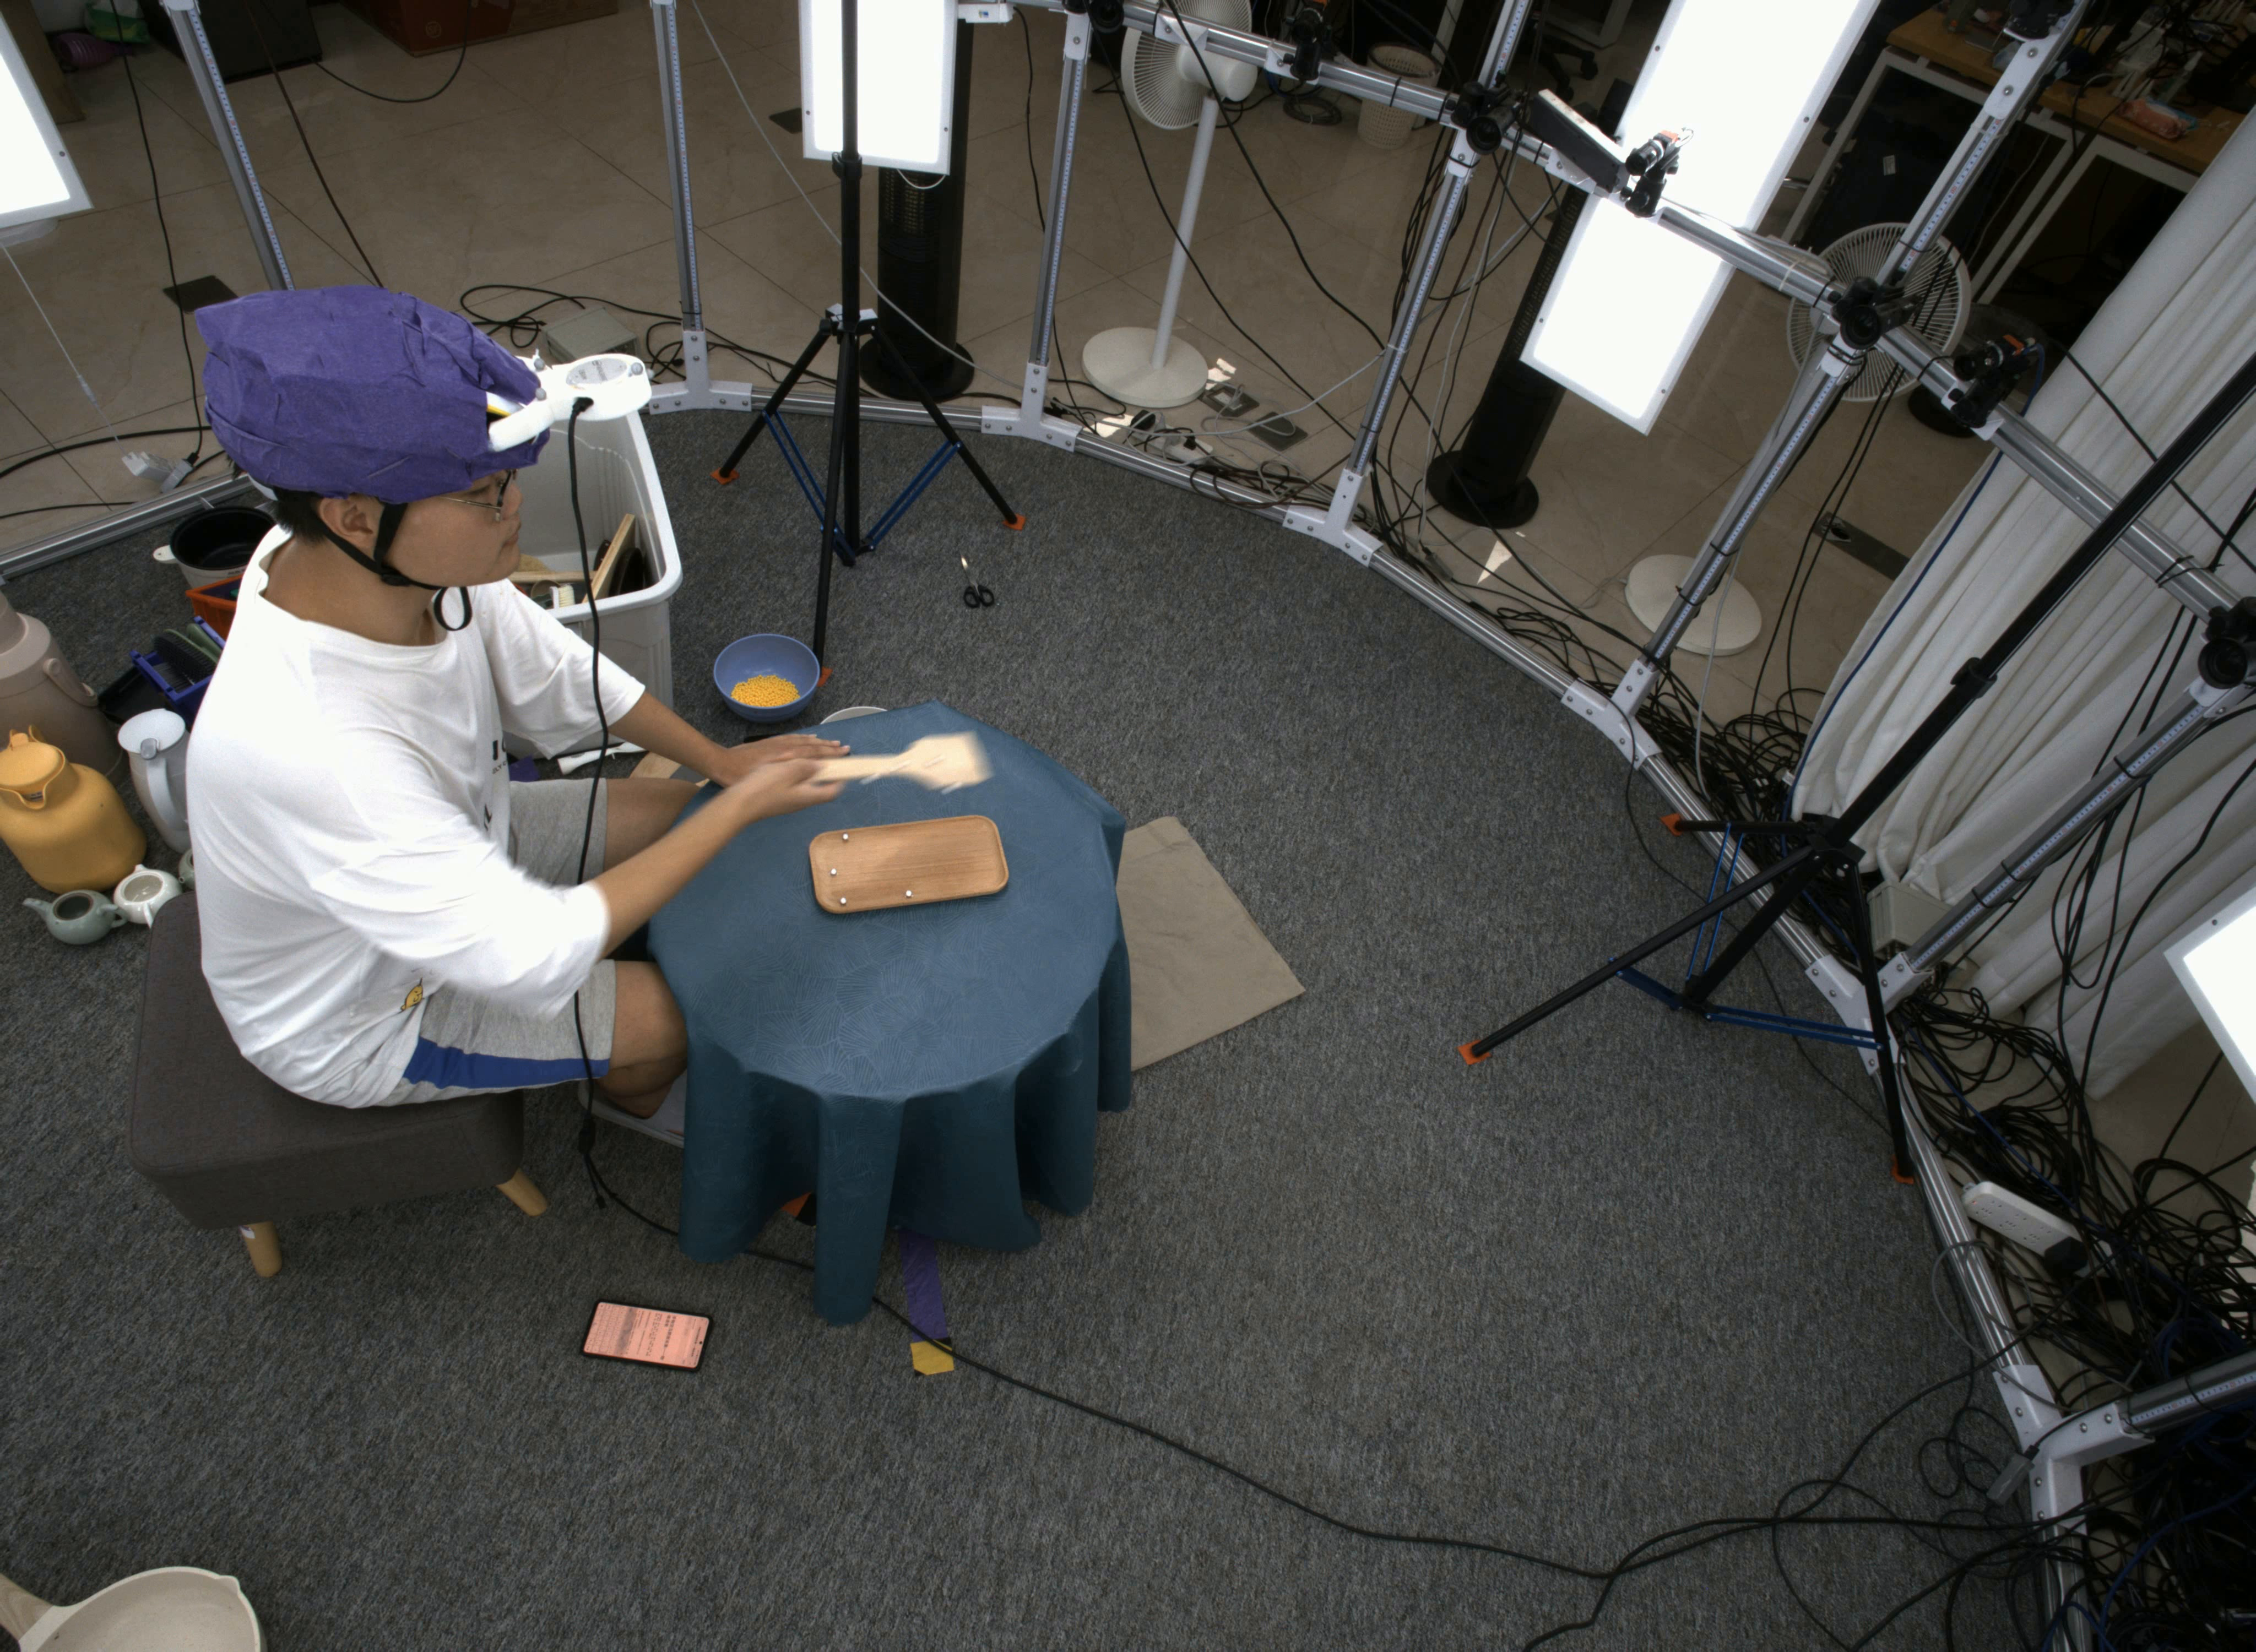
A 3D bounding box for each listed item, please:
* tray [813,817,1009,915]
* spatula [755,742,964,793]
[{"bbox_3d":[-0.286,0.051,1.720,0.251,0.023,0.128,-5,58,-17],"label":"tray"},{"bbox_3d":[-0.320,-0.067,1.564,0.298,0.010,0.071,-6,65,-49],"label":"spatula"}]
